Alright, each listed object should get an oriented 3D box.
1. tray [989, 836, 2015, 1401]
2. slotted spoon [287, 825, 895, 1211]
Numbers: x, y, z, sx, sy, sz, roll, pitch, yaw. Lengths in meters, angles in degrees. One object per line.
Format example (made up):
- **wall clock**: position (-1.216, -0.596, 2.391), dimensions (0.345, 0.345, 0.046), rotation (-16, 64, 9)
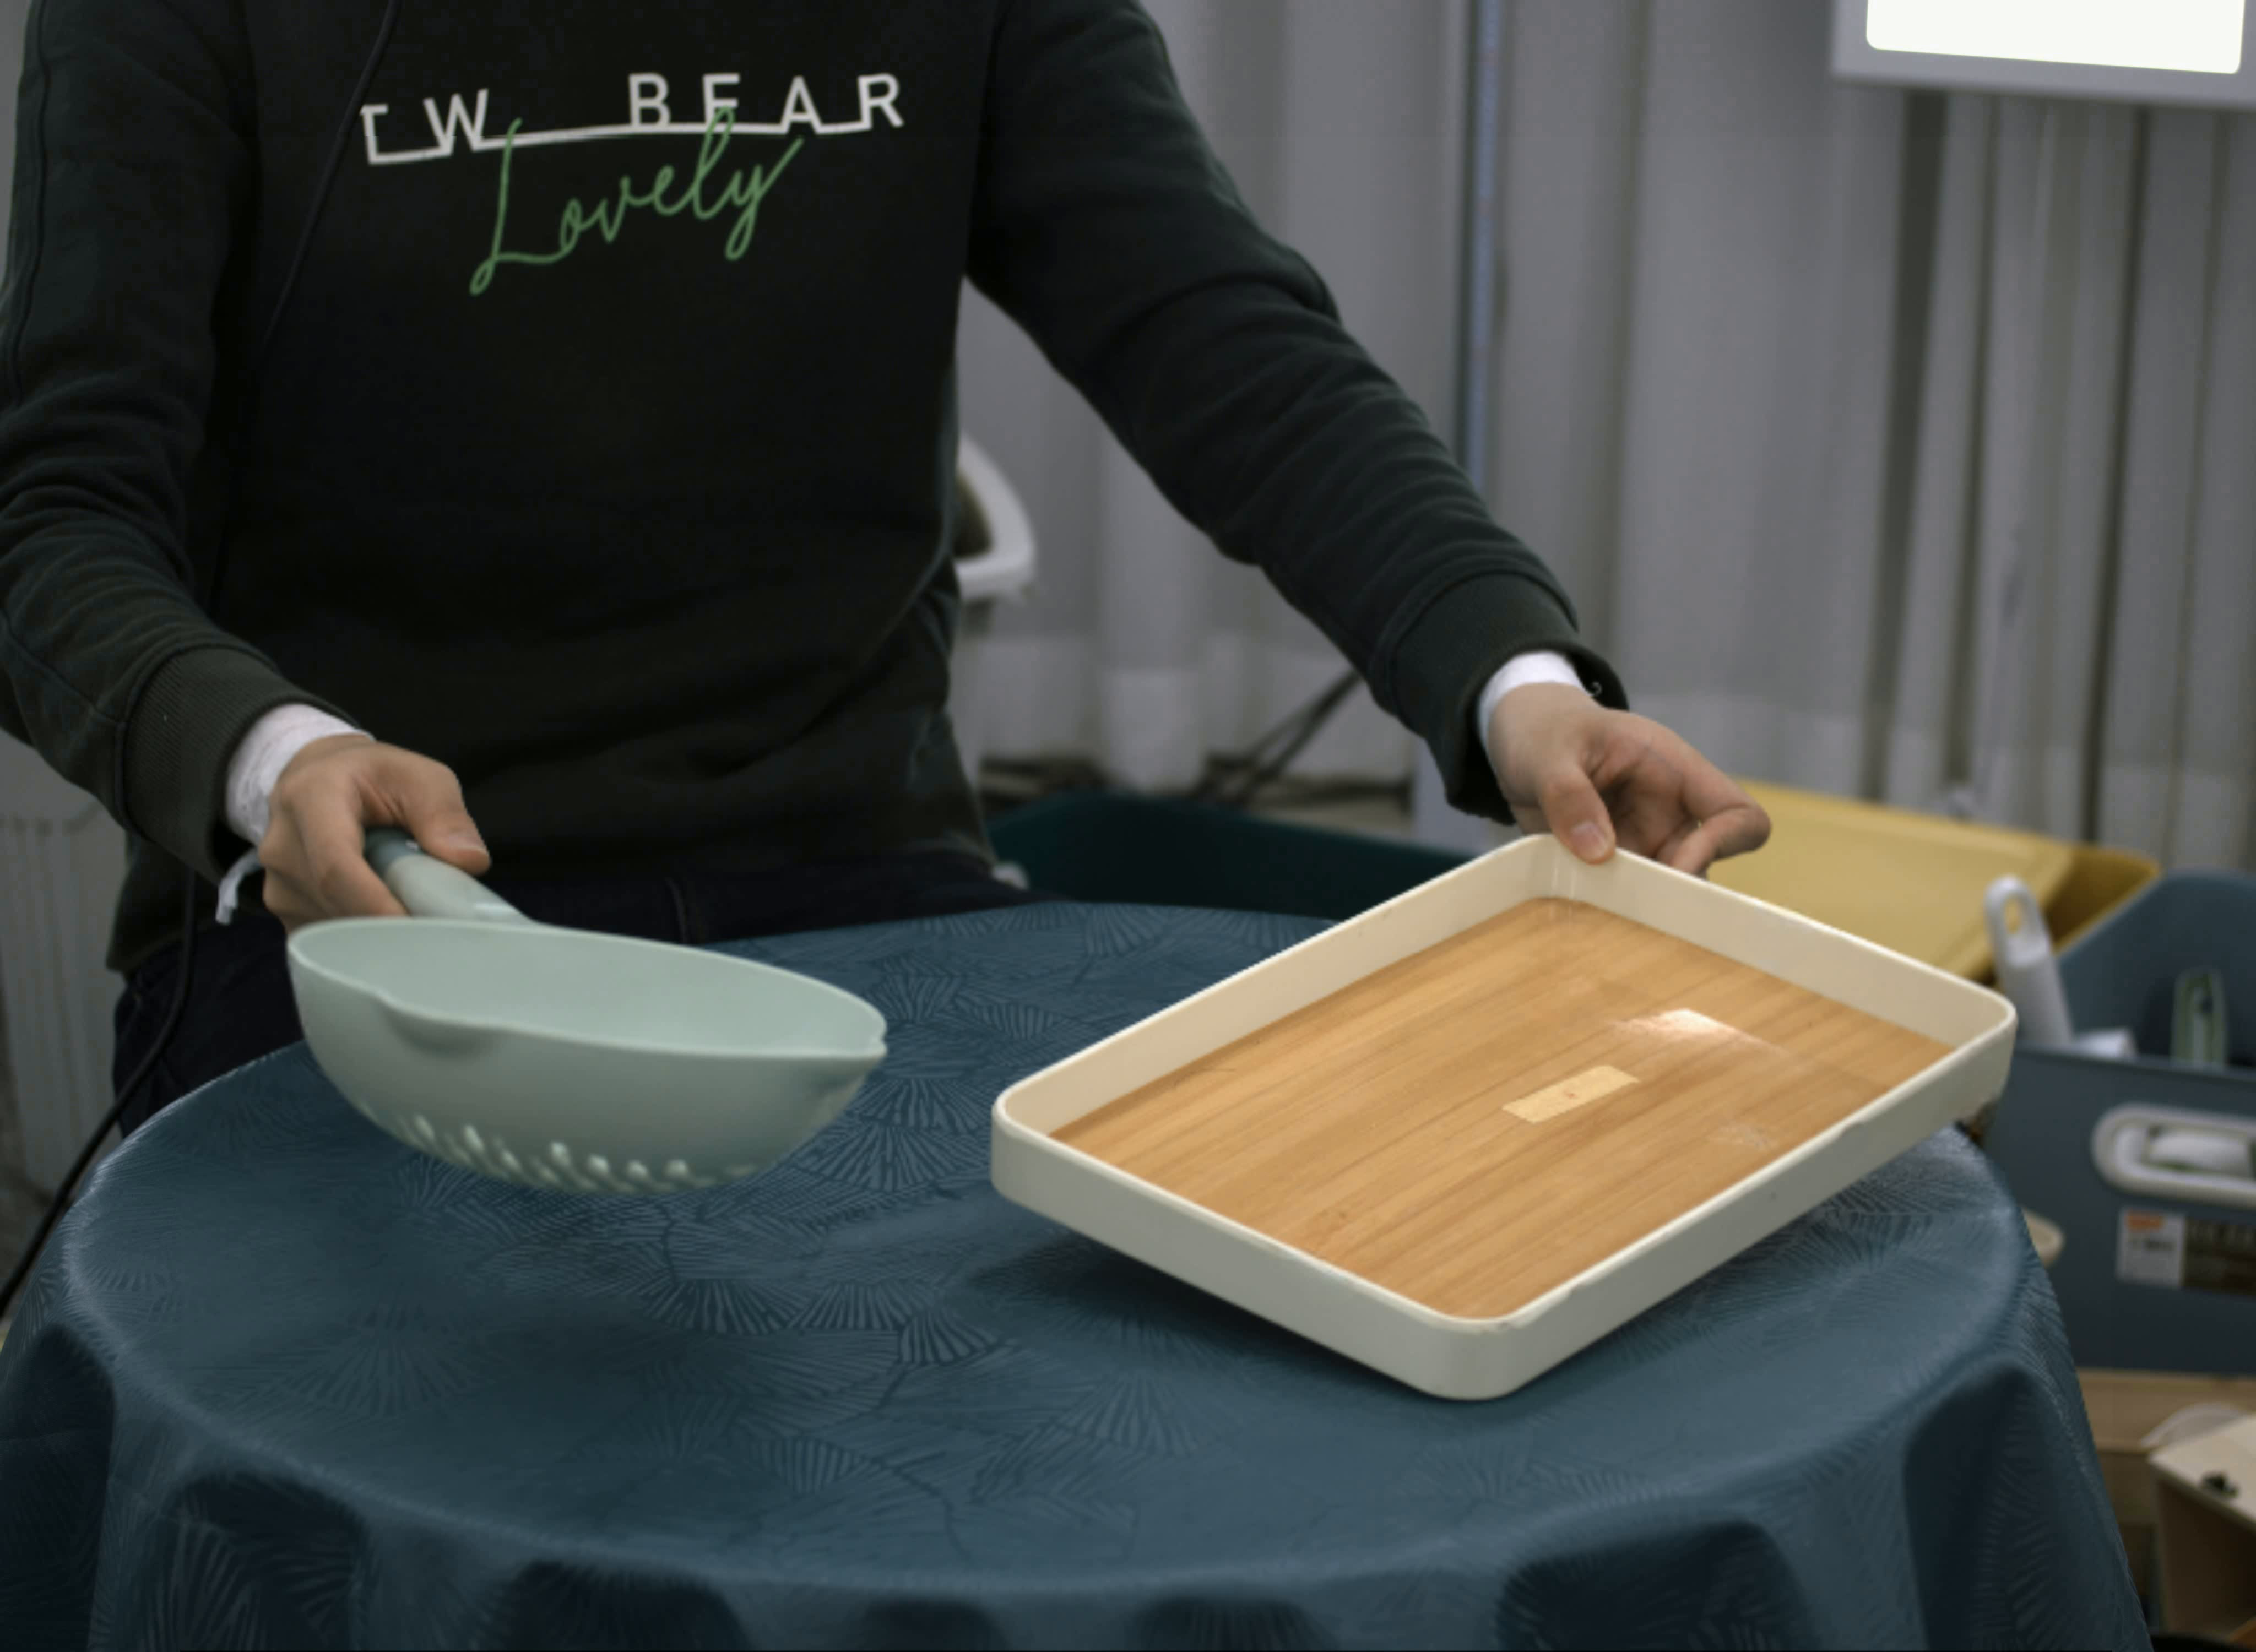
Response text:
- **tray**: position (0.118, 0.082, 1.606), dimensions (0.189, 0.027, 0.301), rotation (23, 30, 33)
- **slotted spoon**: position (-0.184, 0.041, 1.556), dimensions (0.170, 0.076, 0.354), rotation (7, 16, -22)
